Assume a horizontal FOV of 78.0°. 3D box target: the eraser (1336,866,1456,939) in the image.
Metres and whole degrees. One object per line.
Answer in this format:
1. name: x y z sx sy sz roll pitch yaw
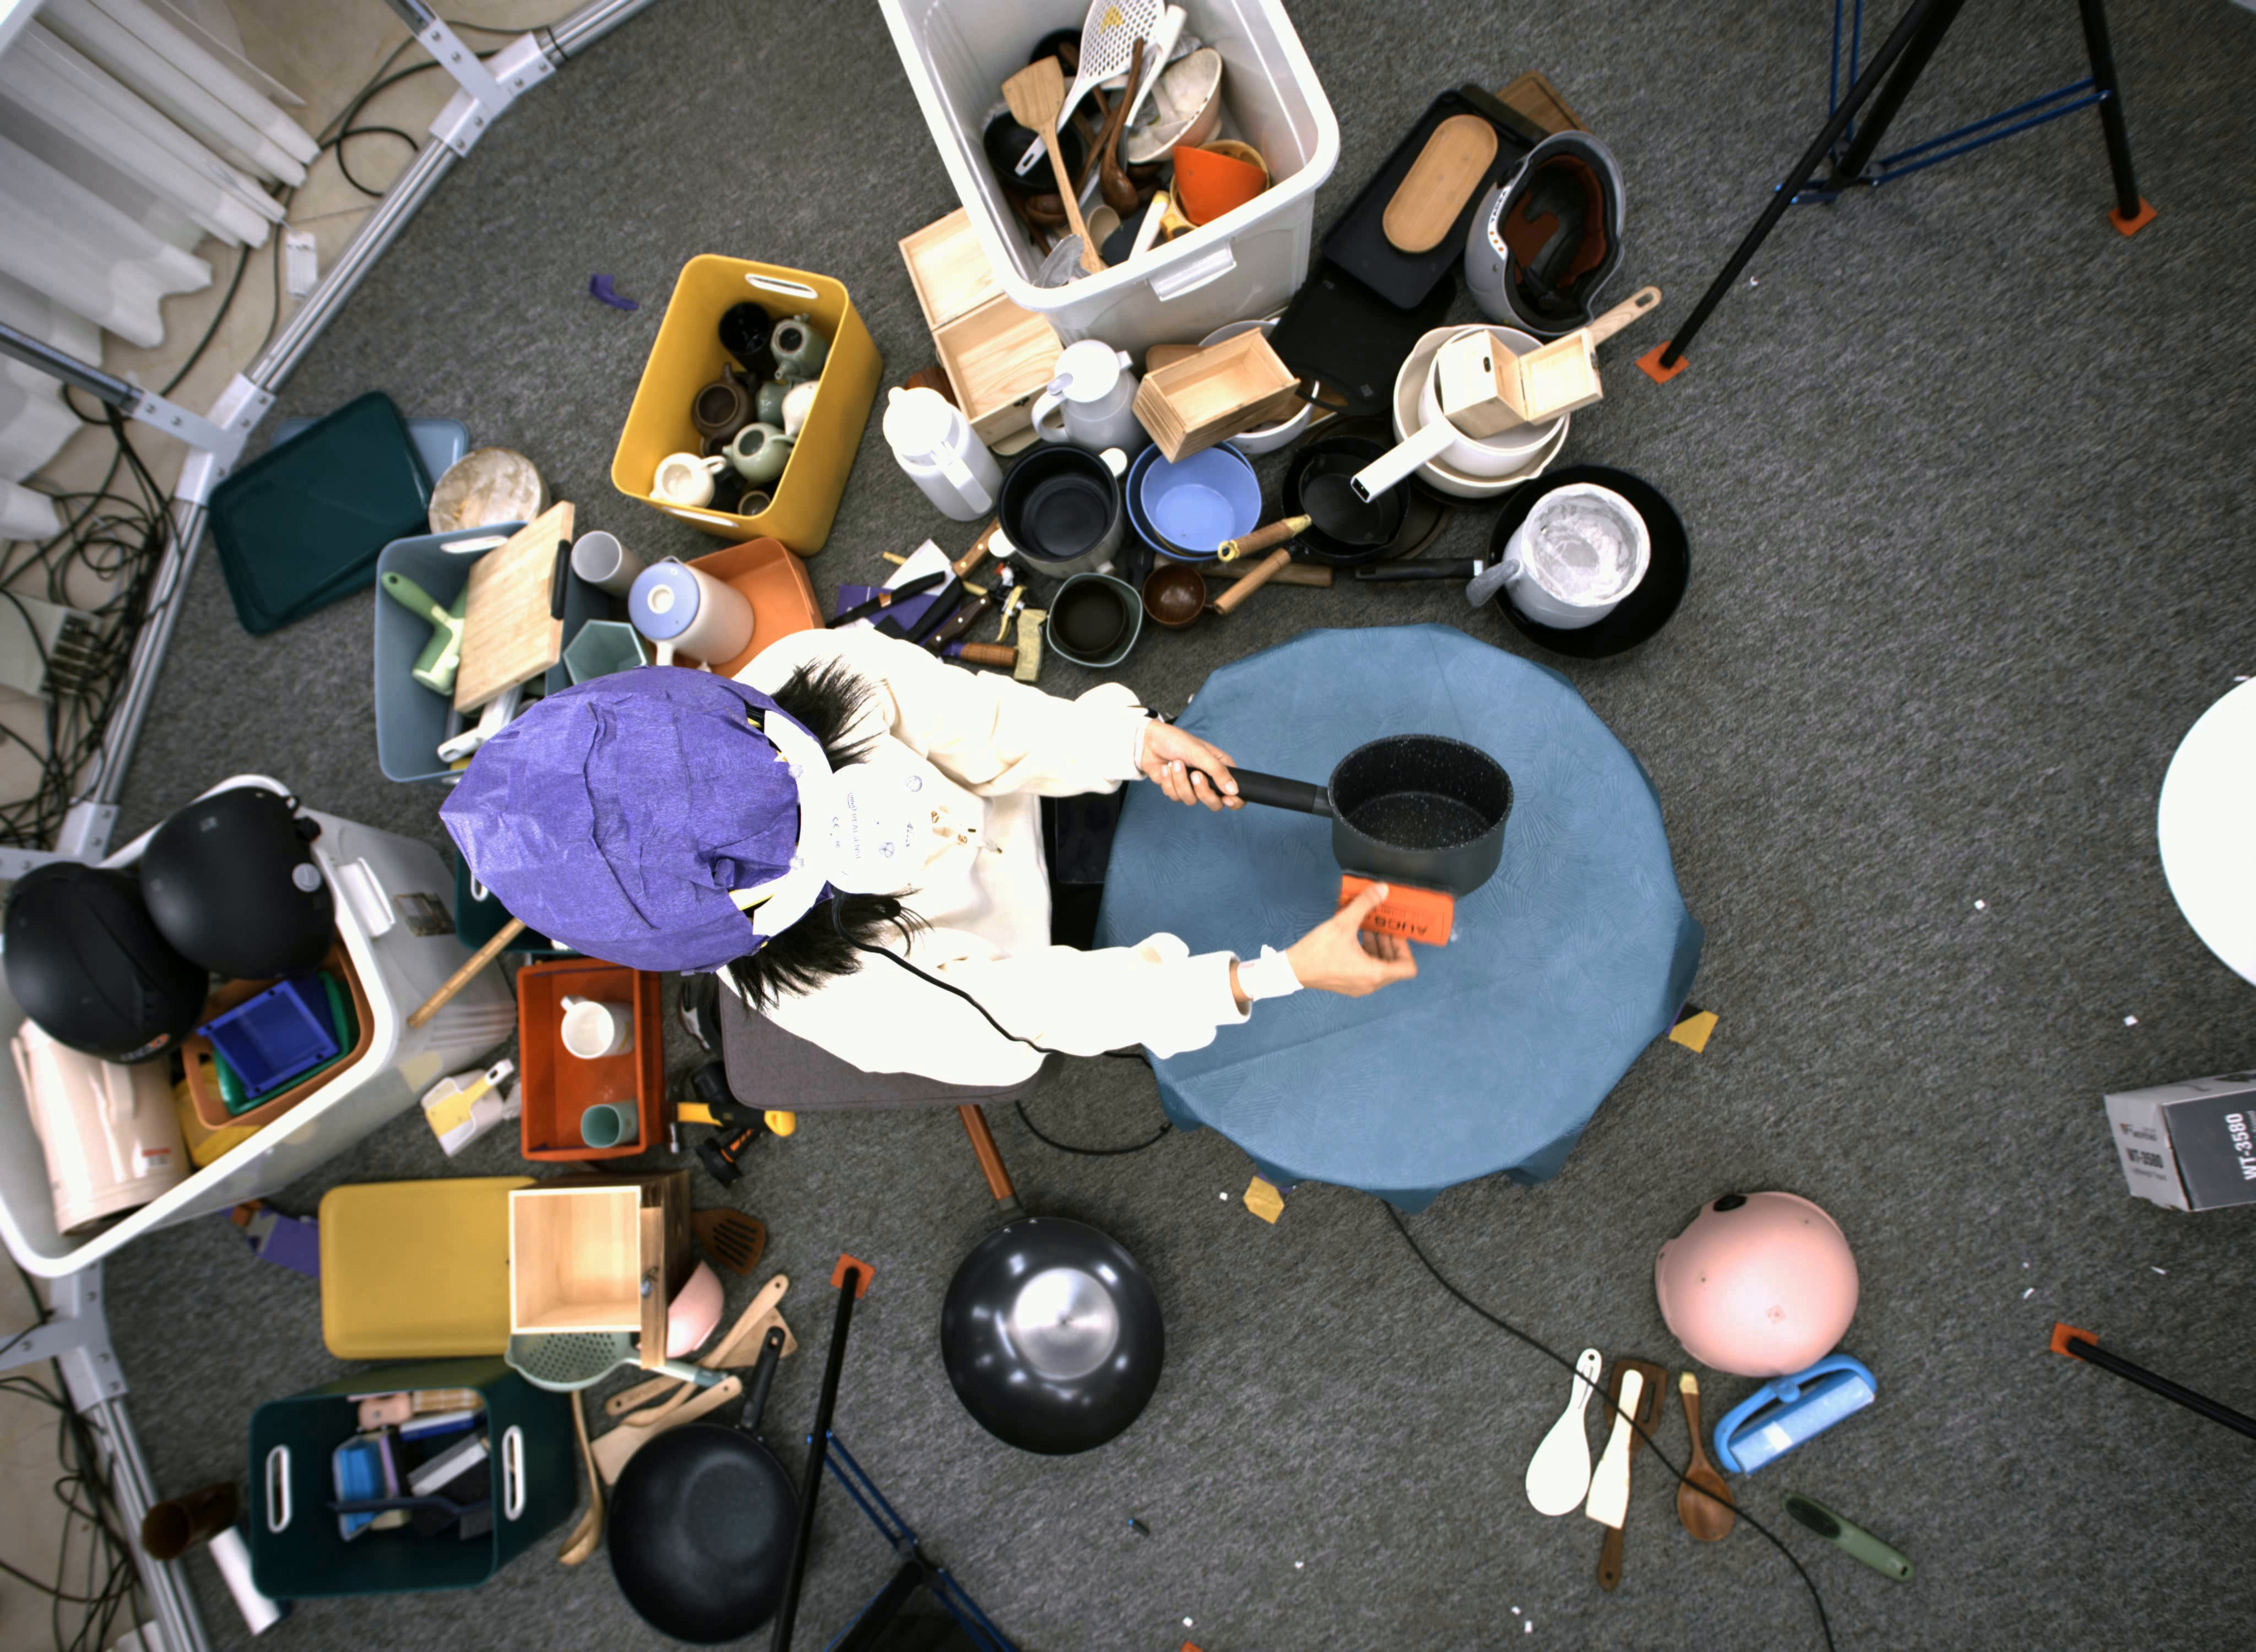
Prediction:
1. eraser: 0.246 0.070 1.274 0.108 0.060 0.022 10 53 18

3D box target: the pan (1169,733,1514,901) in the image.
1. pan: 0.201 -0.018 1.335 0.329 0.088 0.167 8 44 14
